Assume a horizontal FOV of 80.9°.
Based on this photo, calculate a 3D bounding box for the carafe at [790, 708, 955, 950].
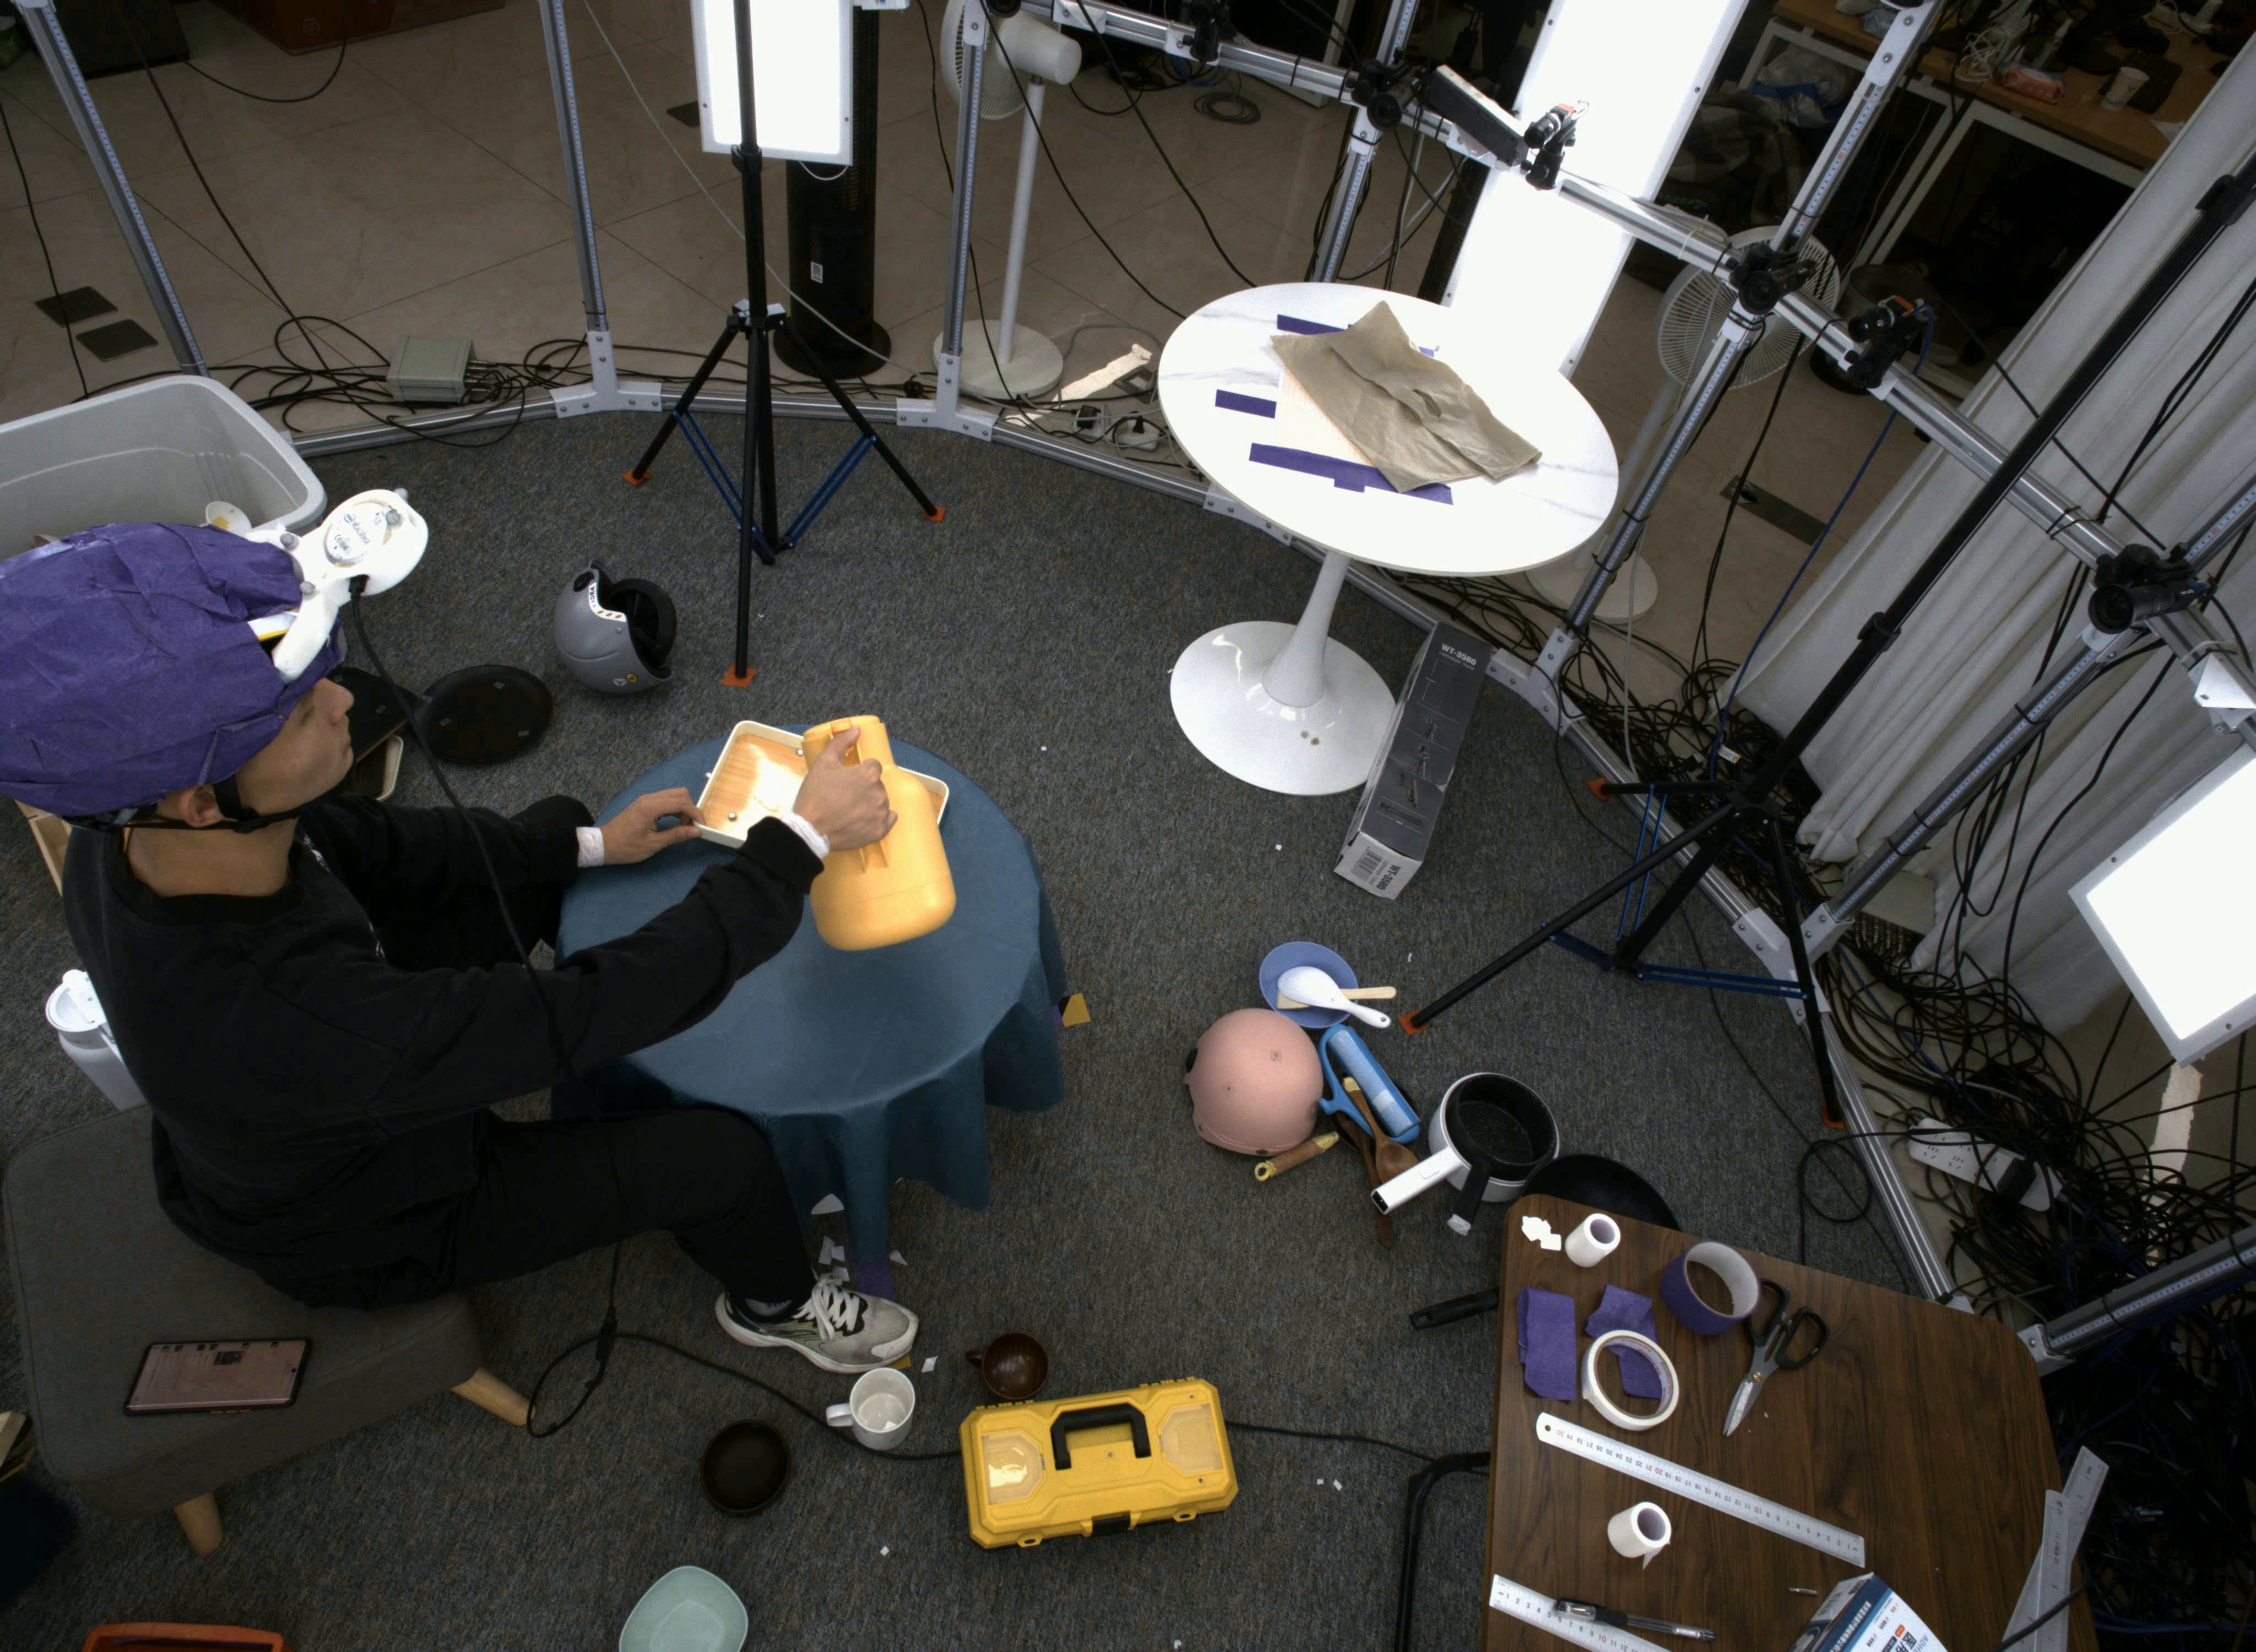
[{"bbox_3d":[-0.299,0.000,1.461,0.163,0.200,0.265,-16,96,-9],"label":"carafe"}]

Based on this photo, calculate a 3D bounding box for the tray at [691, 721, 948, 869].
[{"bbox_3d":[-0.401,-0.024,1.707,0.300,0.028,0.189,17,51,-9],"label":"tray"}]
